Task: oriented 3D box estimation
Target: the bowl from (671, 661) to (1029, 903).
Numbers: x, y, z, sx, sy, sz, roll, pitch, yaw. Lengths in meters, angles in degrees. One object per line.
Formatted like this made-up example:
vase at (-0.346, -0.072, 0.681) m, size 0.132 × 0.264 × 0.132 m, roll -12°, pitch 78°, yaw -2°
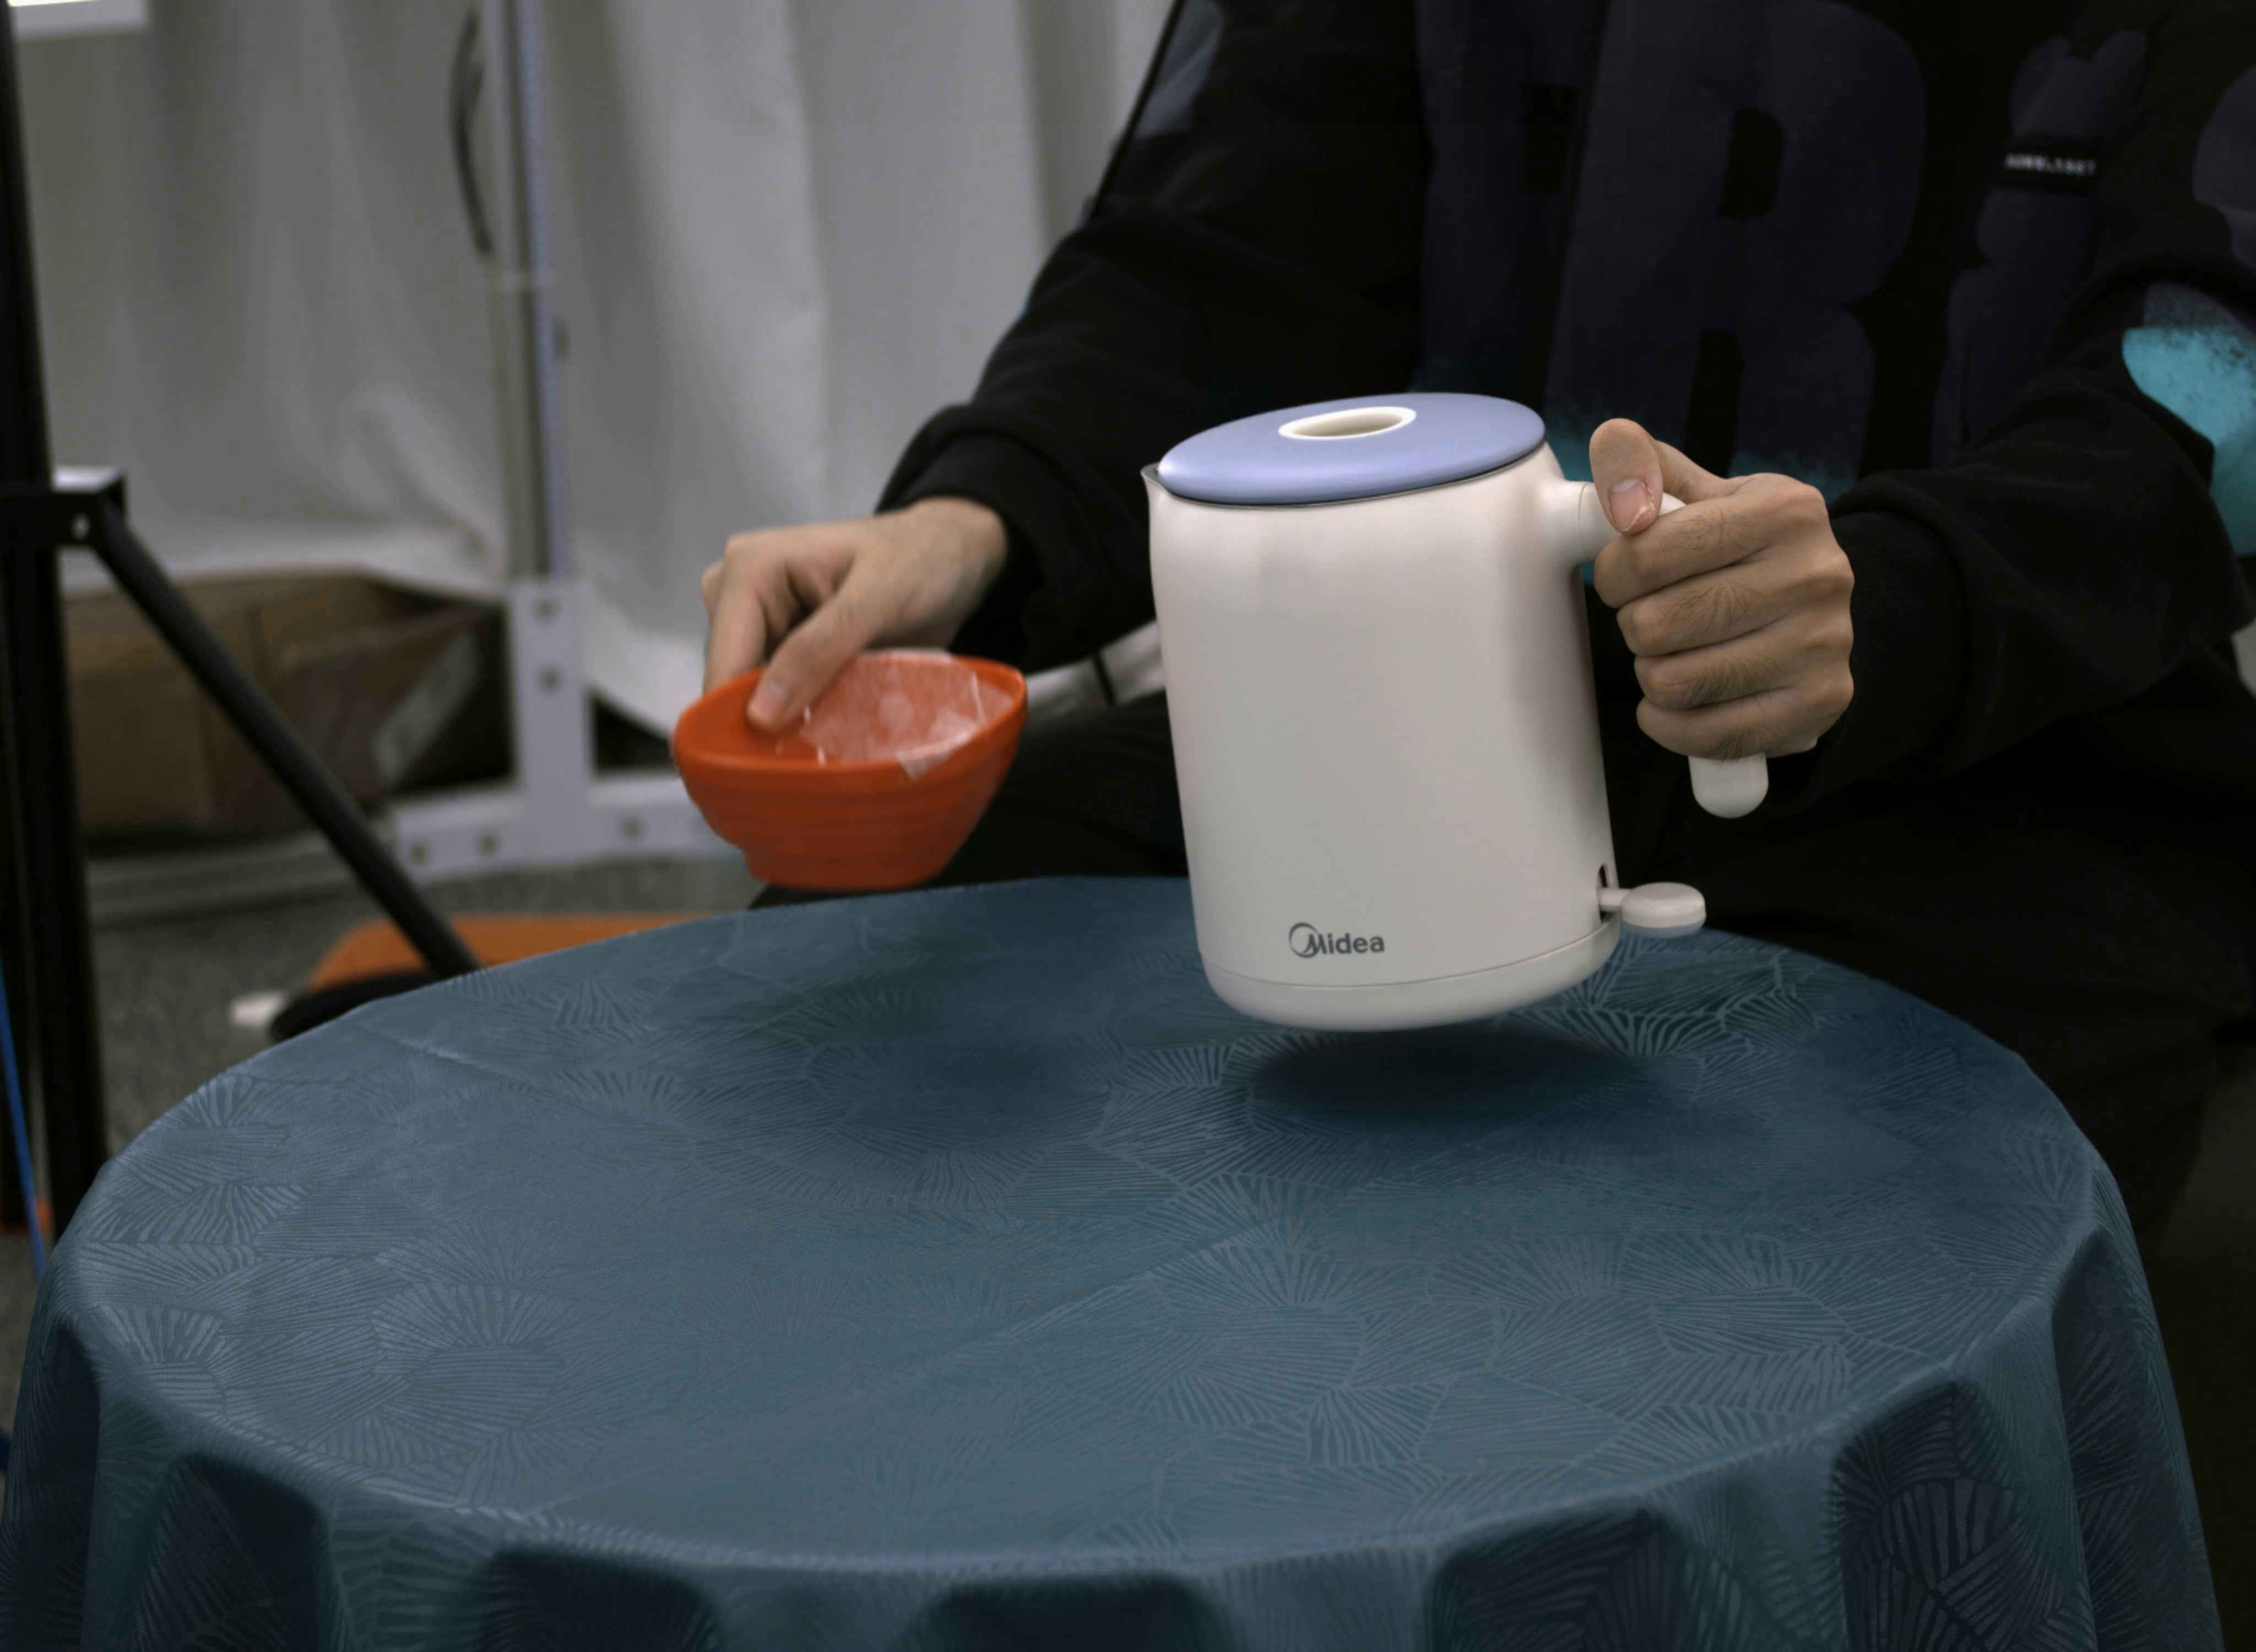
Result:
bowl at (-0.086, -0.011, 1.709) m, size 0.118 × 0.051 × 0.119 m, roll -8°, pitch 20°, yaw 1°

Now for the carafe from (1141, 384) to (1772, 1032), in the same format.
carafe at (0.101, -0.036, 1.620) m, size 0.193 × 0.182 × 0.131 m, roll 1°, pitch 18°, yaw 22°
